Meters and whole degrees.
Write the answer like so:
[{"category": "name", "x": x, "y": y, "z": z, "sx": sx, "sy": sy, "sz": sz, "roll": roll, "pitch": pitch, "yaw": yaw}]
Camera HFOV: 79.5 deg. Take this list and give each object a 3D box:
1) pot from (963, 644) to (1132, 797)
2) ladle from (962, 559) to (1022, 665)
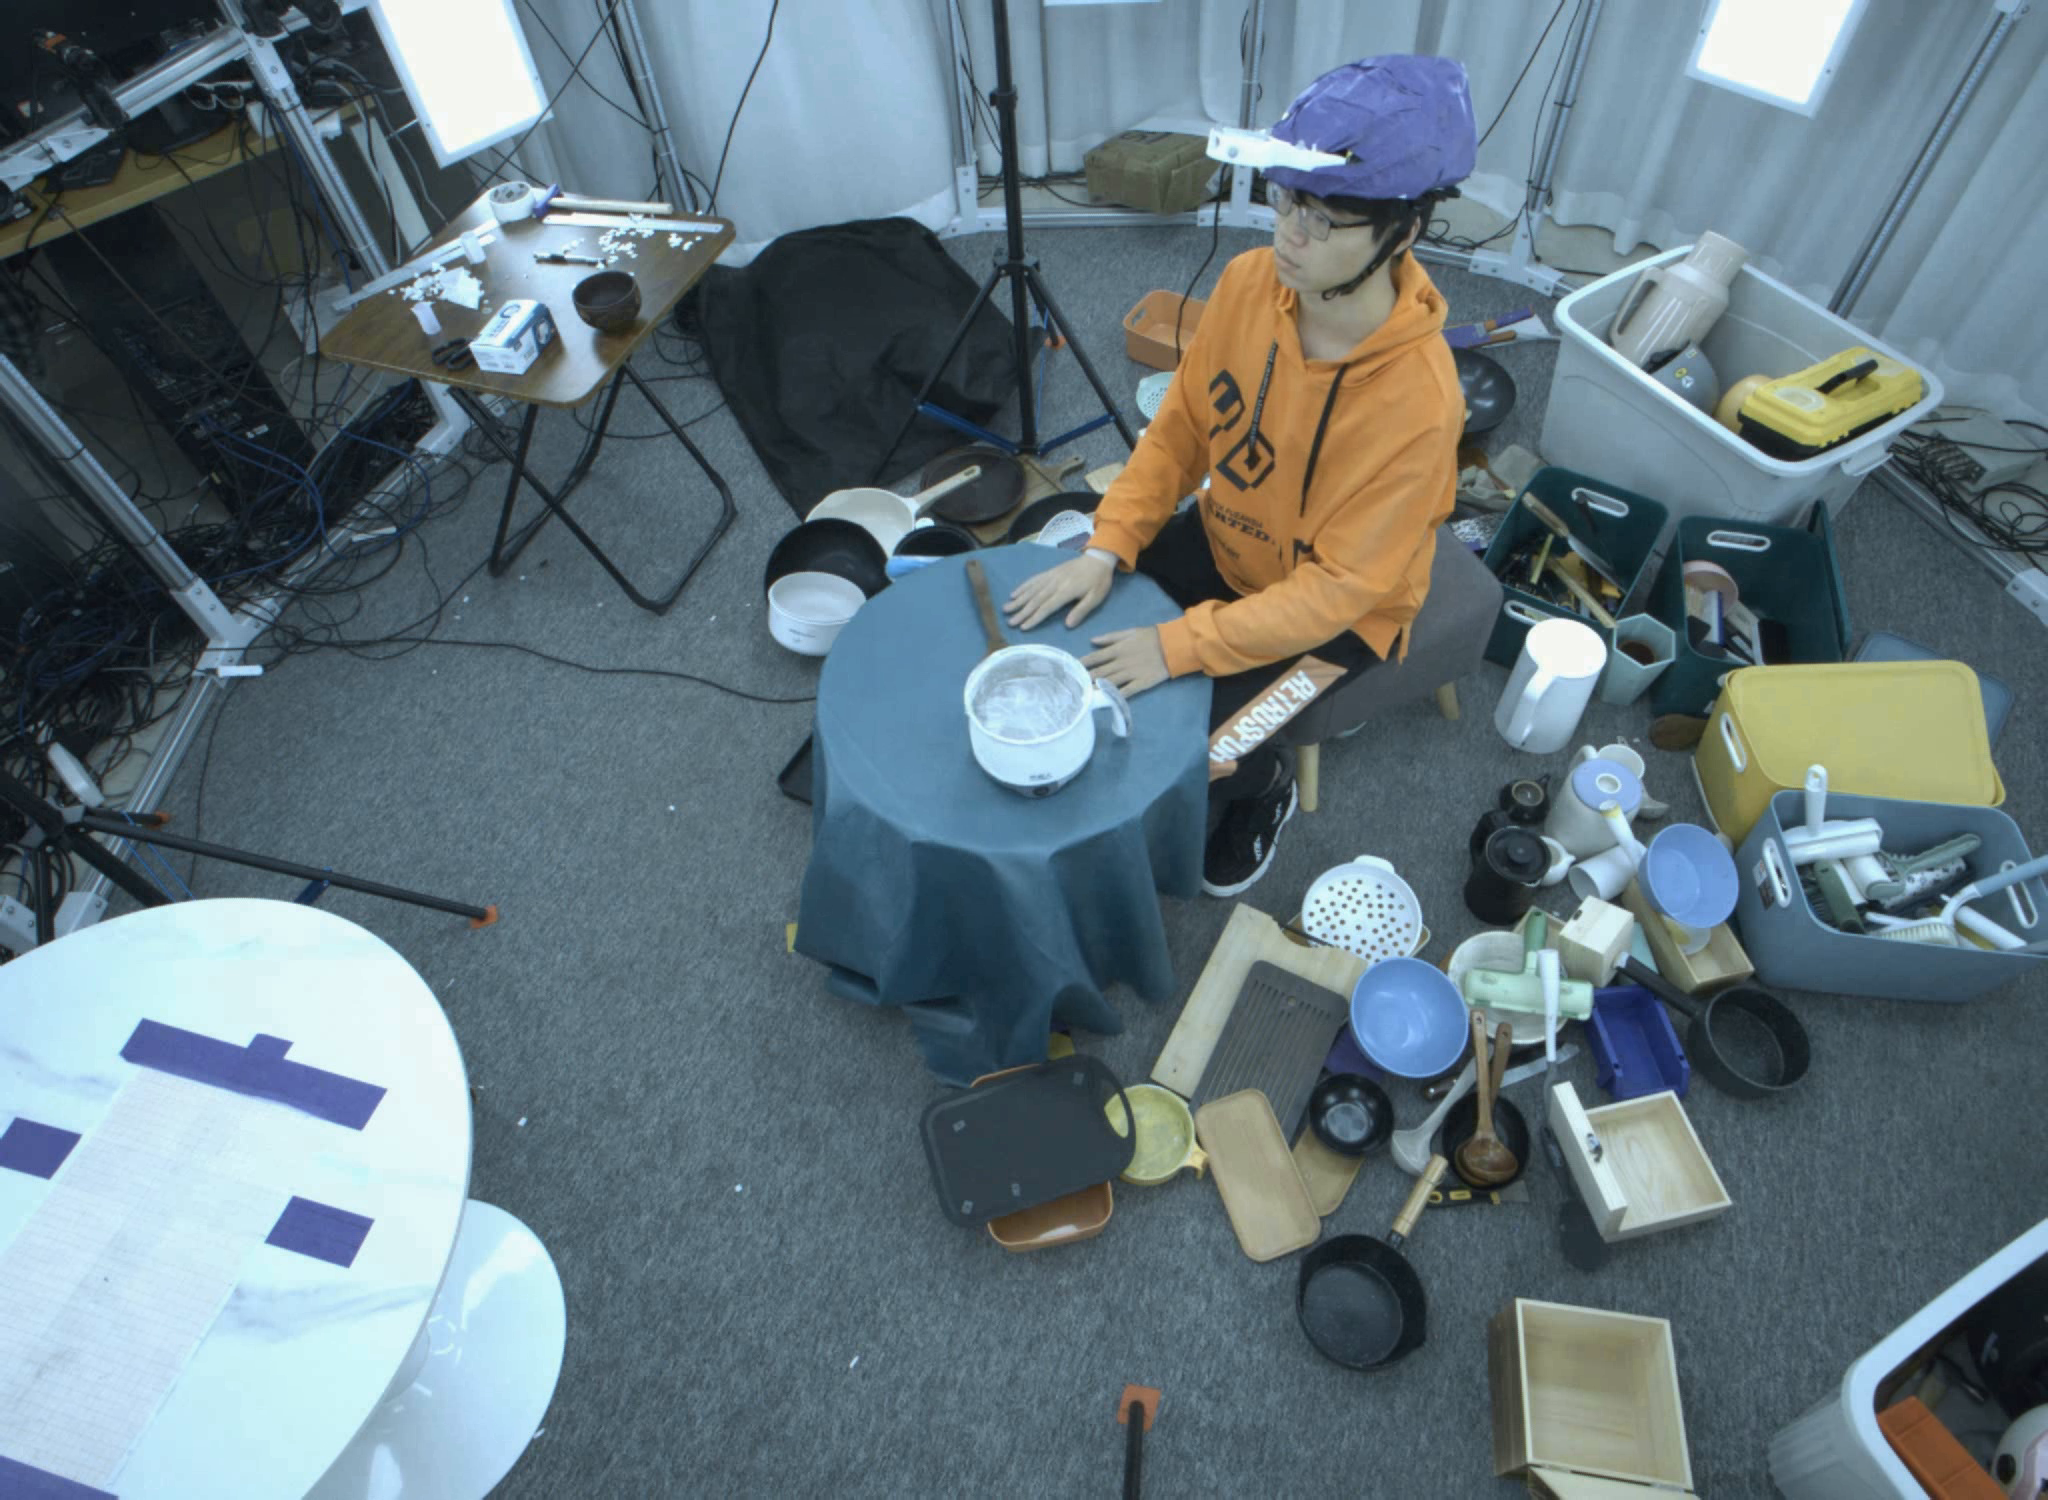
[{"category": "pot", "x": 0.036, "y": -0.046, "z": 1.733, "sx": 0.234, "sy": 0.138, "sz": 0.176, "roll": -10, "pitch": 55, "yaw": -4}, {"category": "ladle", "x": -0.058, "y": -0.224, "z": 1.905, "sx": 0.076, "sy": 0.072, "sz": 0.270, "roll": -10, "pitch": 56, "yaw": -10}]
